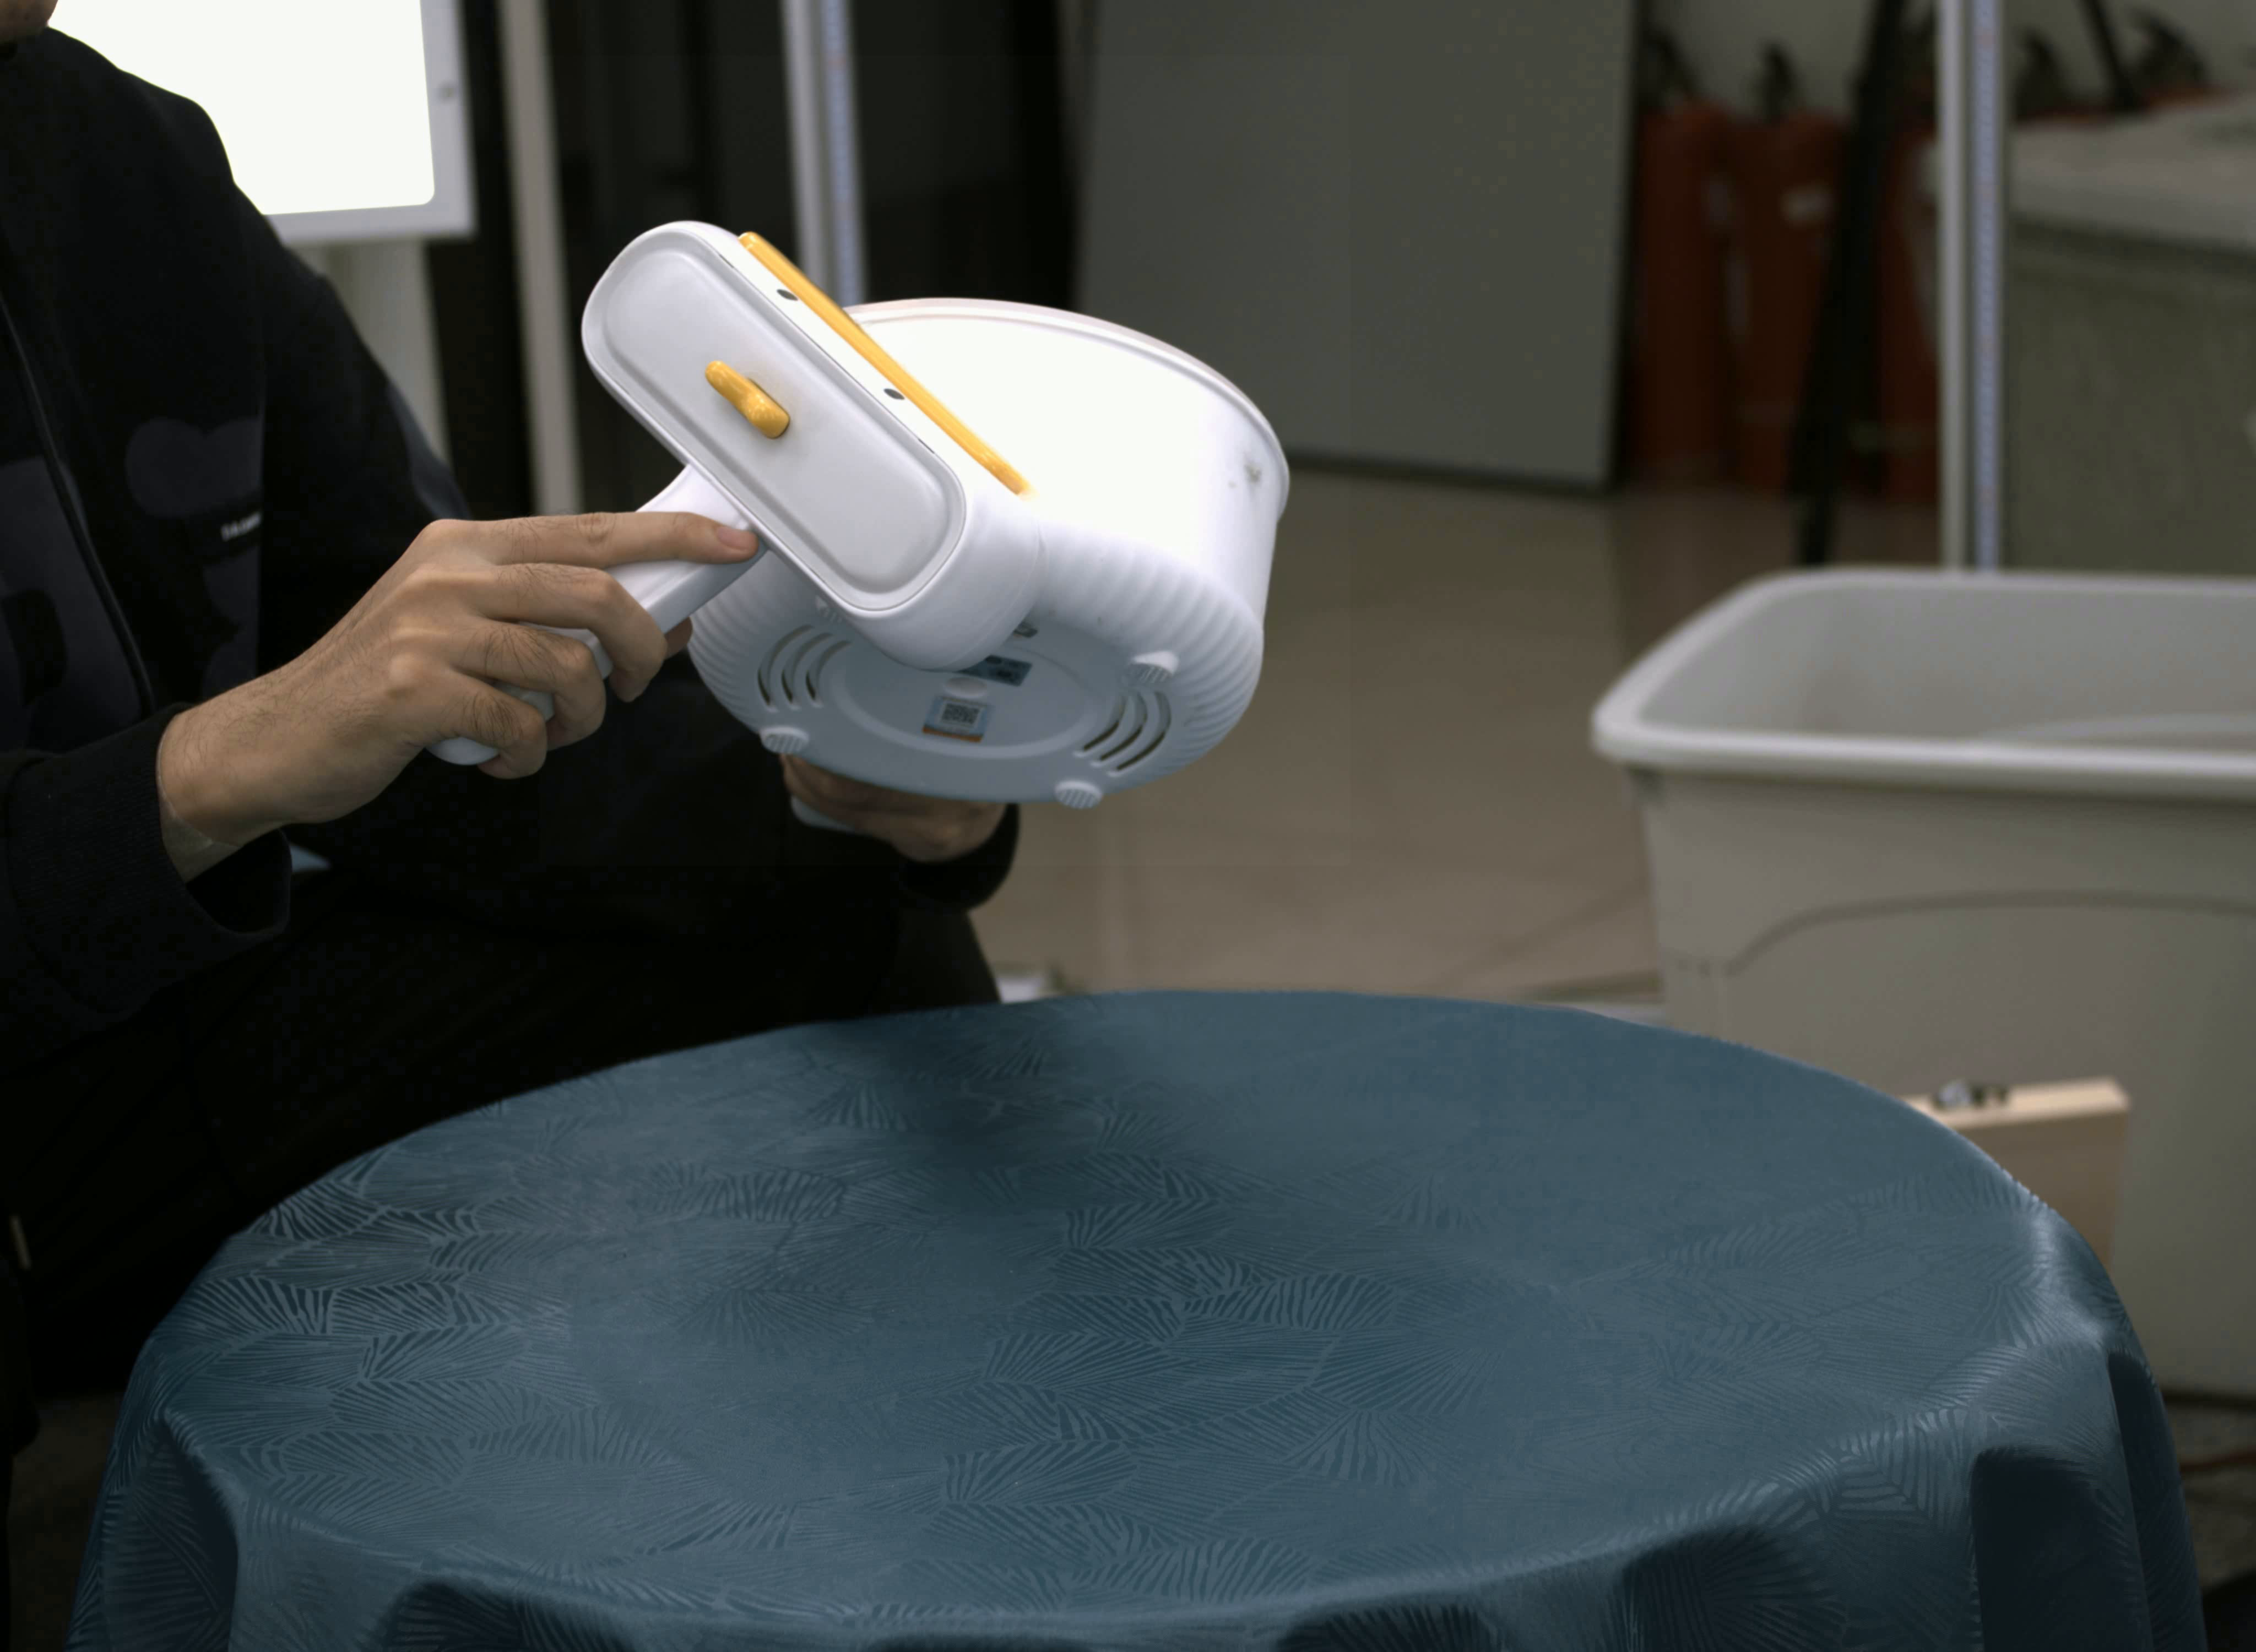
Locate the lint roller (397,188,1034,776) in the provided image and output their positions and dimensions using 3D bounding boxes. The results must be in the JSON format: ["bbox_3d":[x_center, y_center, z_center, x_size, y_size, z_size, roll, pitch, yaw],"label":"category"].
[{"bbox_3d":[-0.146,-0.088,1.681,0.194,0.192,0.073,40,-4,29],"label":"lint roller"}]

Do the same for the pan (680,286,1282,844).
[{"bbox_3d":[-0.068,-0.052,1.859,0.198,0.103,0.357,10,-27,-10],"label":"pan"}]
